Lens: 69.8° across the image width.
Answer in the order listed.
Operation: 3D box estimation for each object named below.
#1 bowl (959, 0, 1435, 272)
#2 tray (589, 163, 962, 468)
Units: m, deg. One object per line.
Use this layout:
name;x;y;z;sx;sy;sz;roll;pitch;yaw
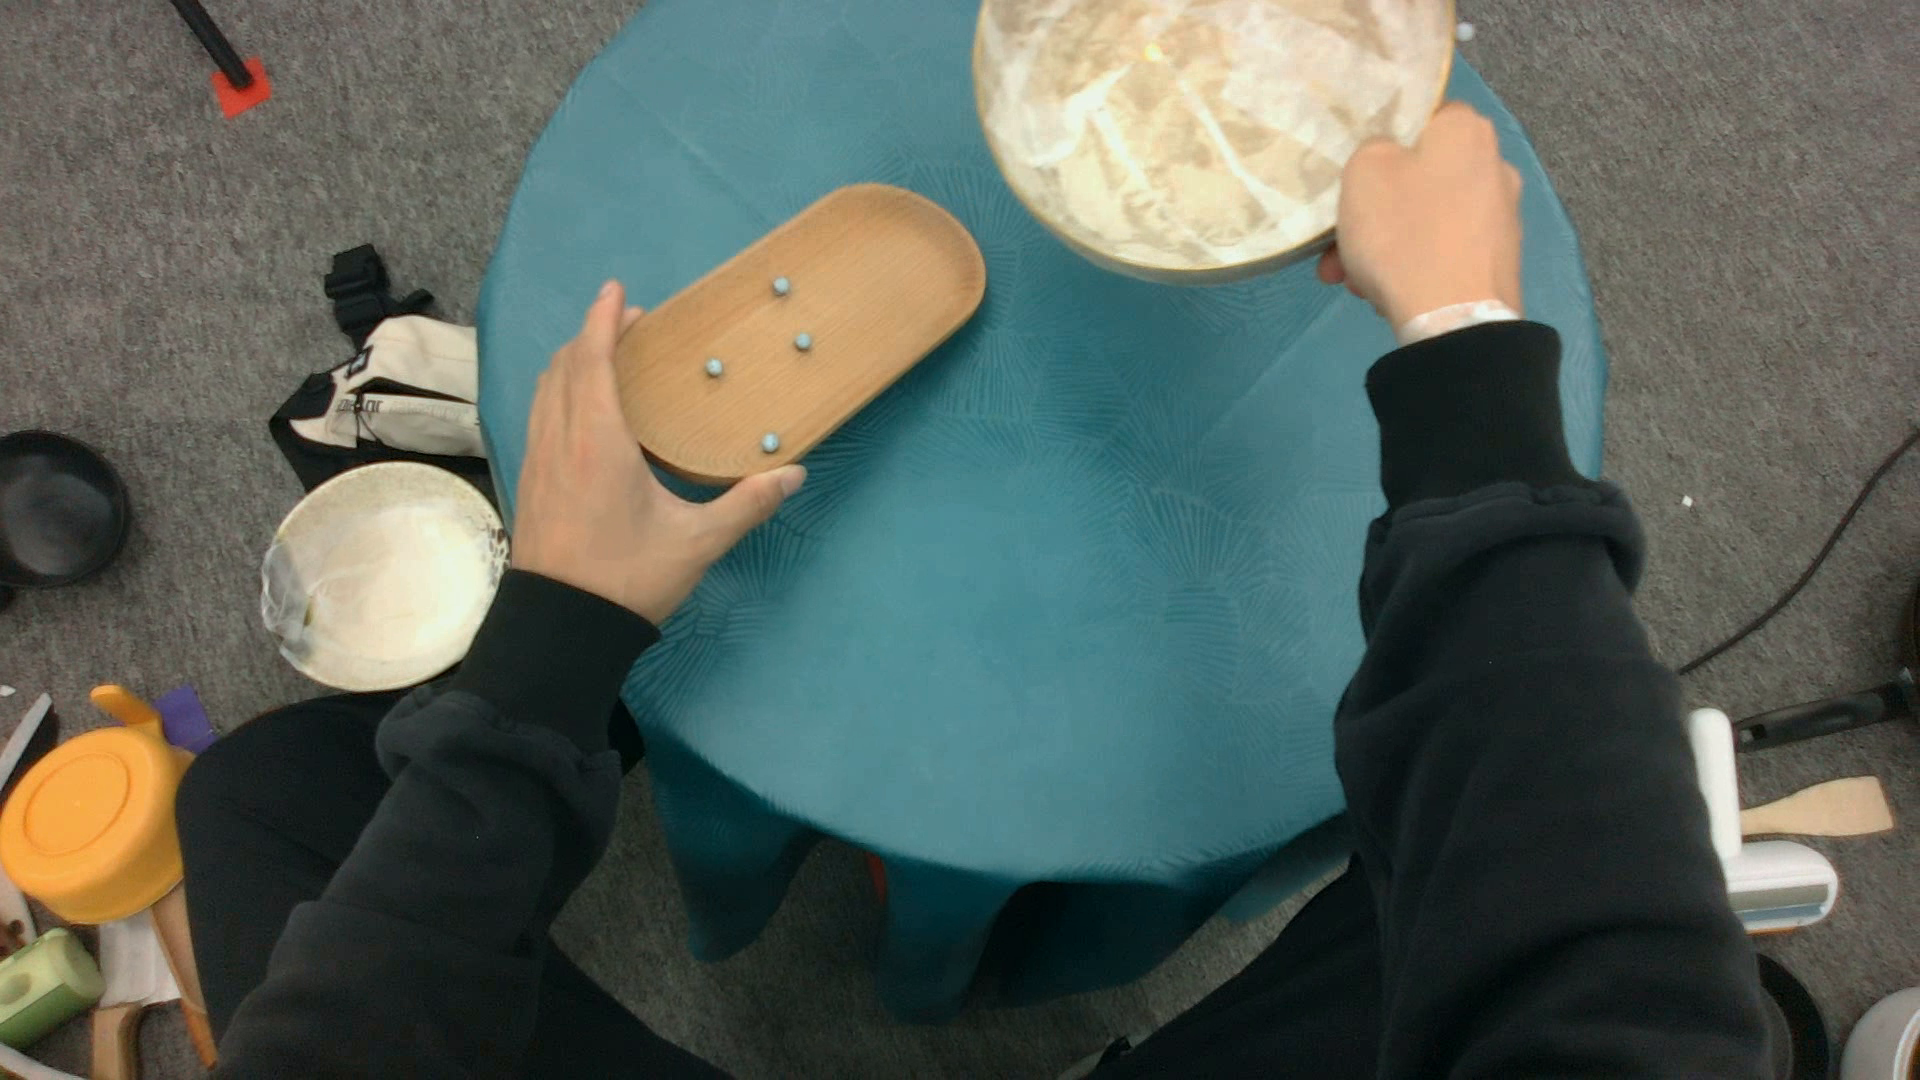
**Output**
bowl;0.104;-0.209;0.628;0.214;0.094;0.215;-2;82;12
tray;-0.086;-0.116;0.684;0.101;0.020;0.232;41;53;4
